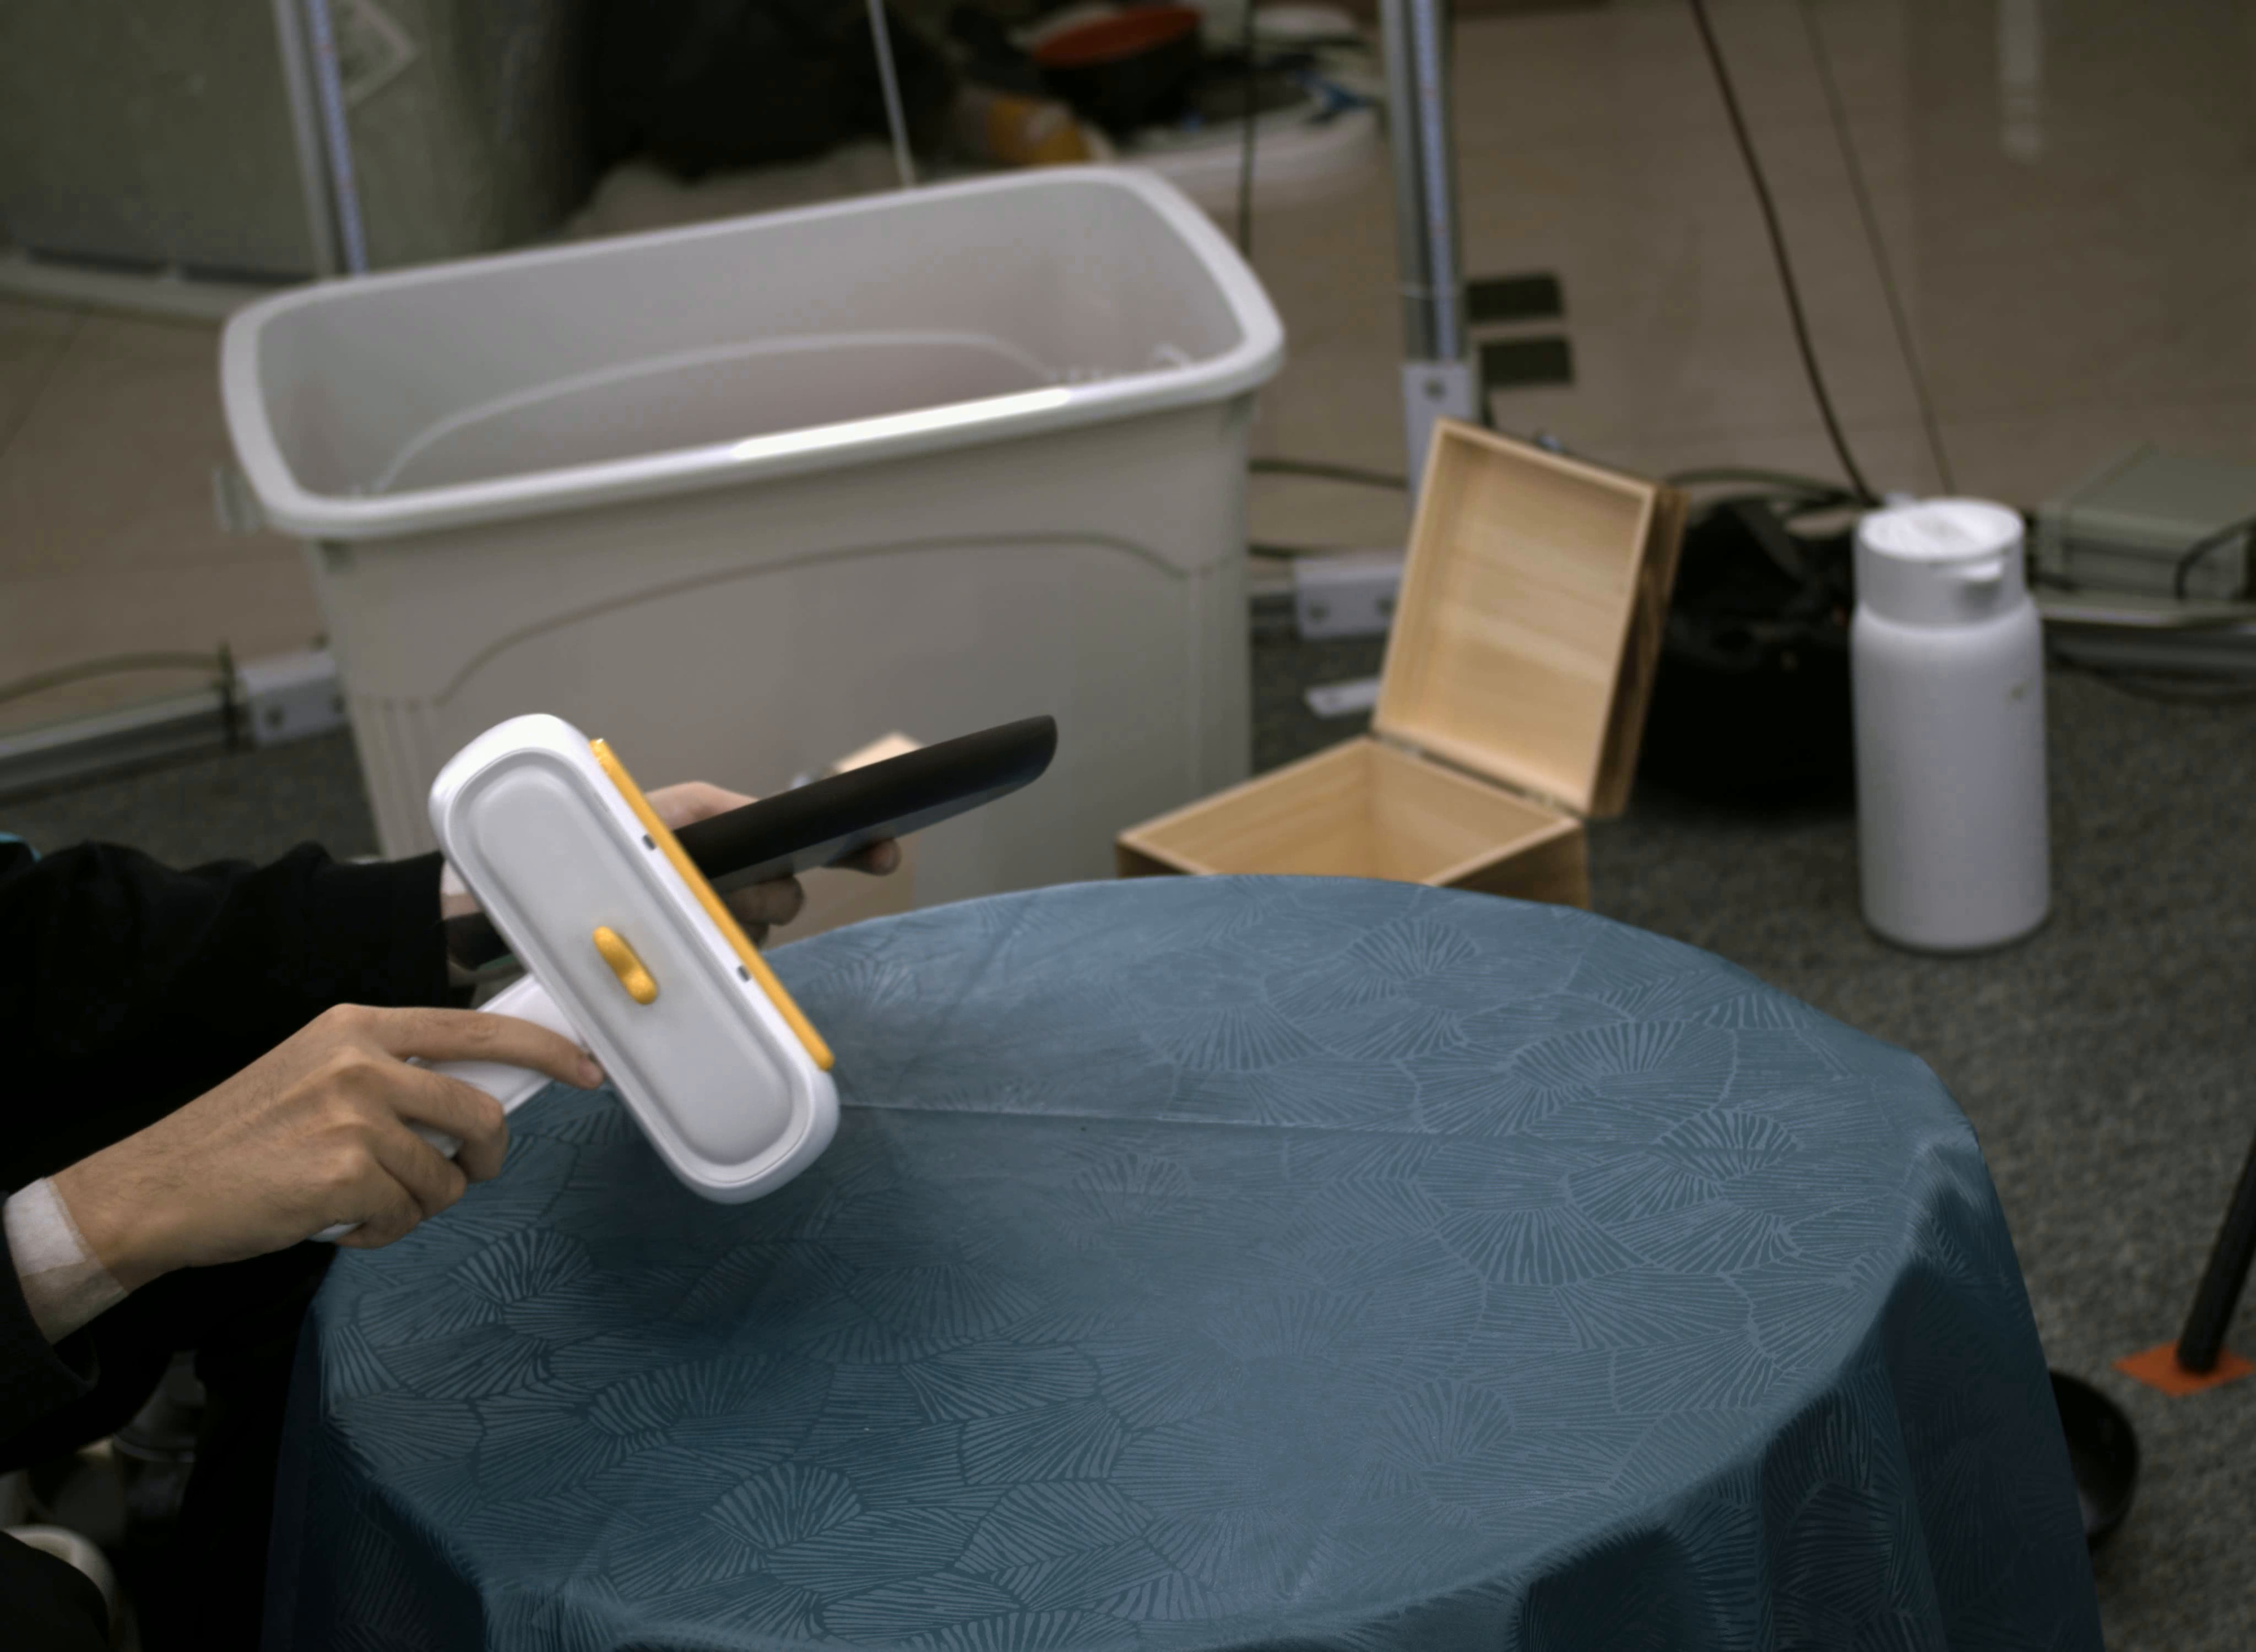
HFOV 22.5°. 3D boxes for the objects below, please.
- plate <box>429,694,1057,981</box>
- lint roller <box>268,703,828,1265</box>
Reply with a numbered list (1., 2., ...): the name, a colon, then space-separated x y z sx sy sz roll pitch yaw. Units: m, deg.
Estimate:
1. plate: -0.144 0.008 2.156 0.254 0.029 0.255 -21 -2 0
2. lint roller: -0.225 0.081 2.001 0.192 0.194 0.074 -40 10 -6
